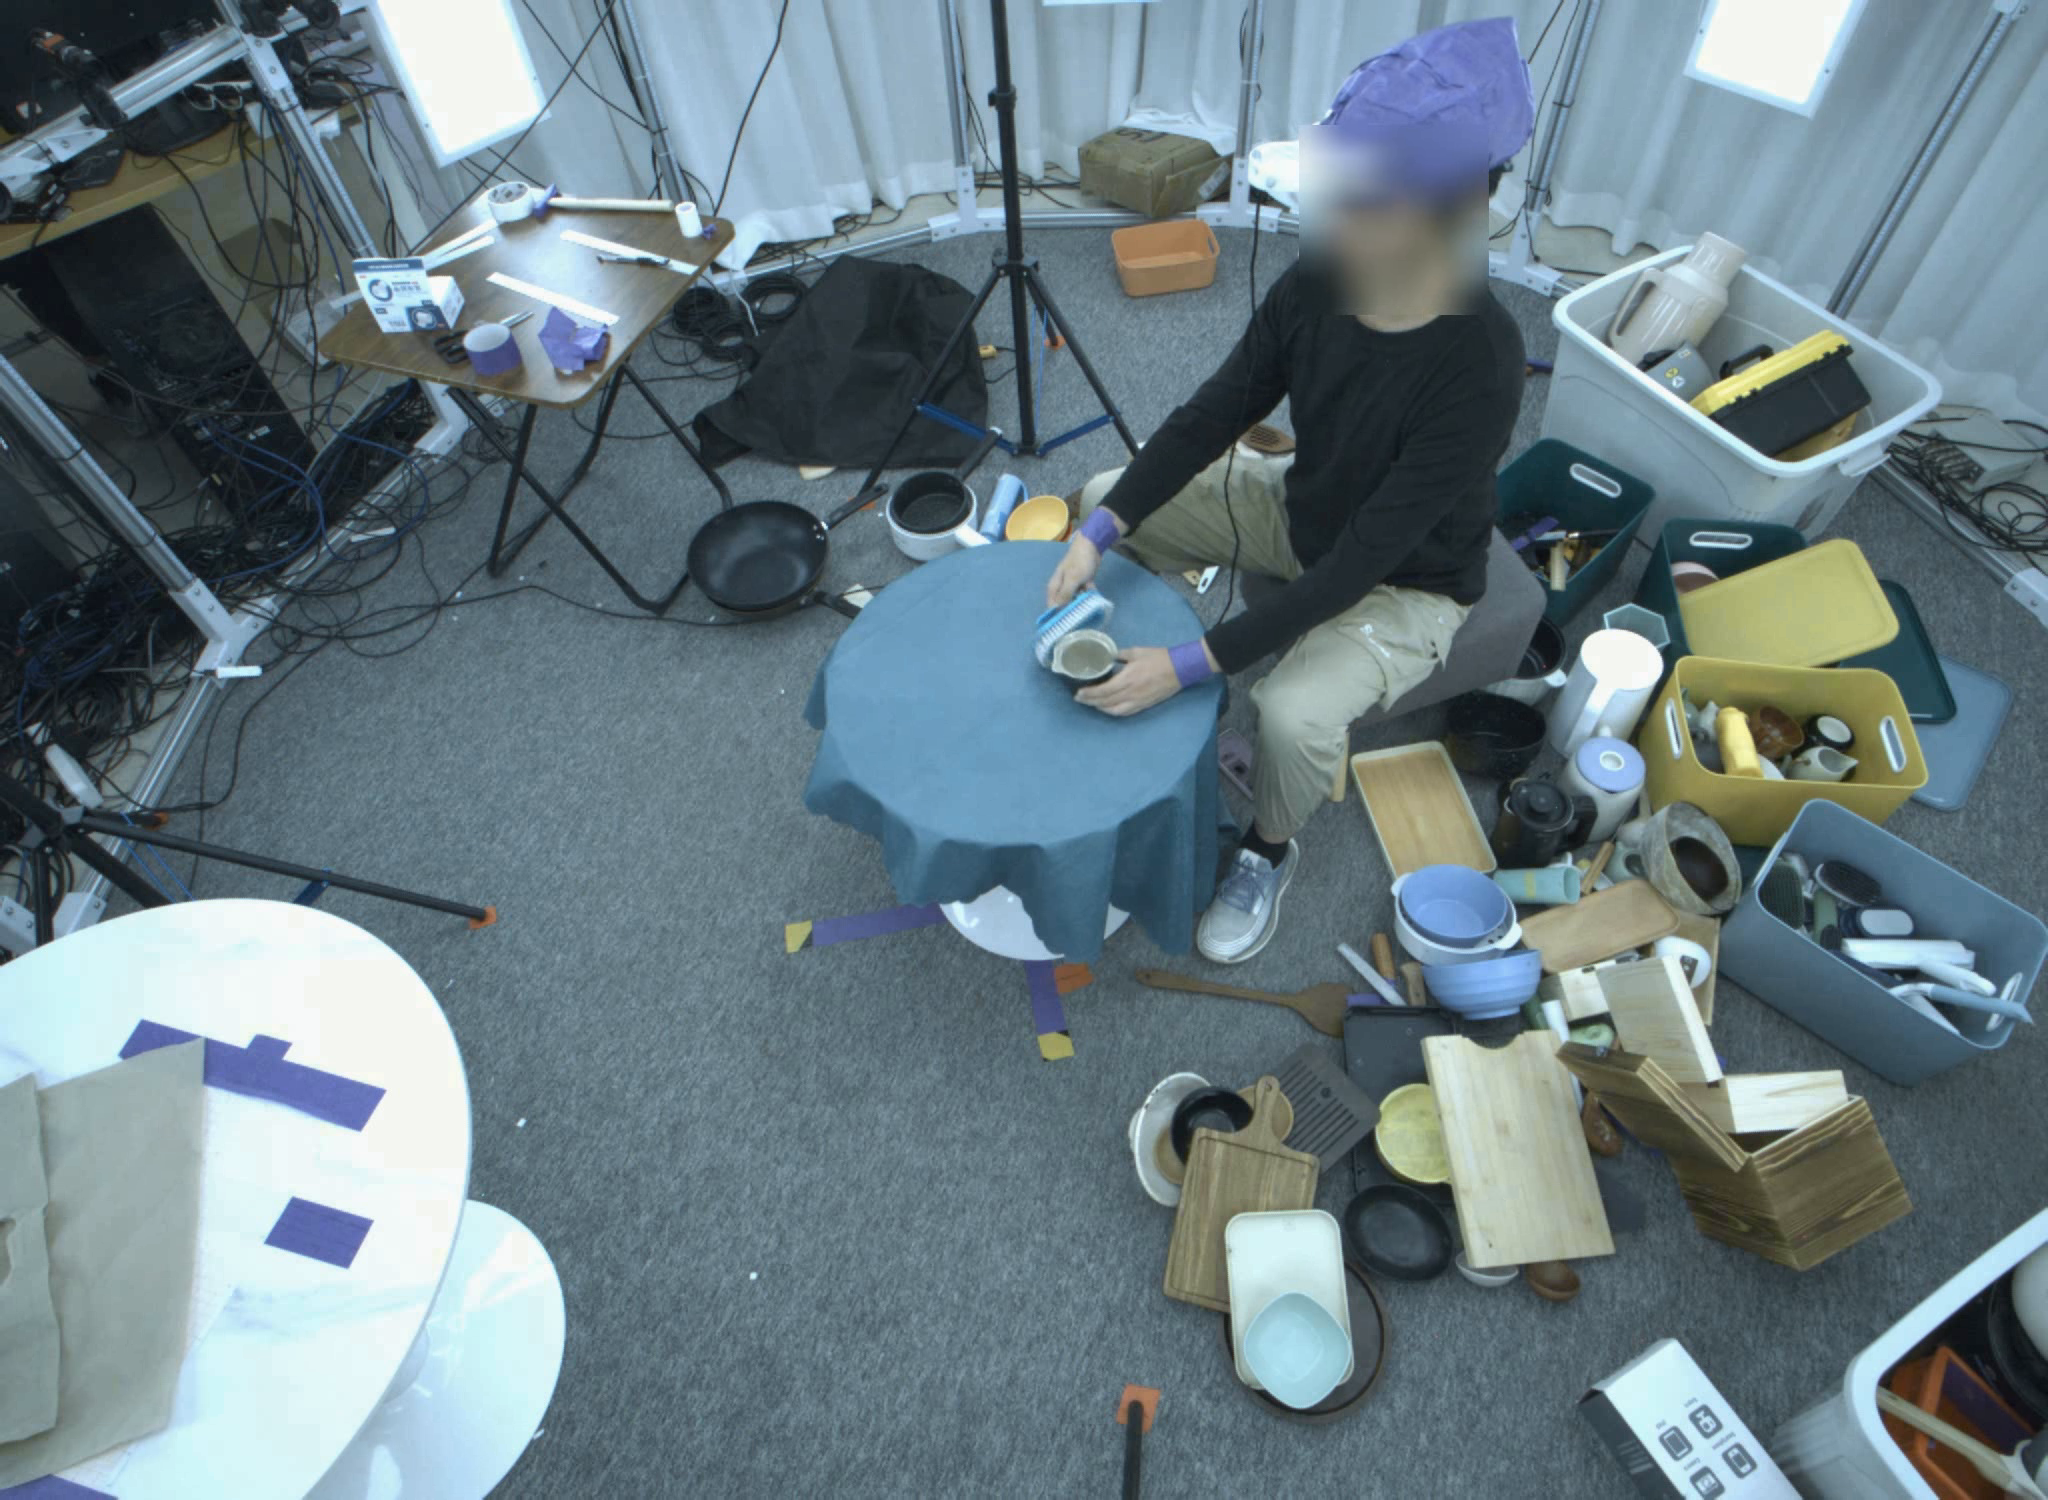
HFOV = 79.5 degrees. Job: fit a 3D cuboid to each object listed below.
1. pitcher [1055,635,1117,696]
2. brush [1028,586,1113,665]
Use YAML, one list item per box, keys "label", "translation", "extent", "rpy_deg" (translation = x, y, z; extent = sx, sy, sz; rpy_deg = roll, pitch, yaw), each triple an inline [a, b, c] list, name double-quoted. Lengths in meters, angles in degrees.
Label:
- label: "pitcher"
  translation: [0.092, -0.120, 1.824]
  extent: [0.096, 0.072, 0.082]
  rpy_deg: [-22, 59, -10]
- label: "brush"
  translation: [0.063, -0.195, 1.859]
  extent: [0.142, 0.086, 0.062]
  rpy_deg: [-40, 62, -1]
